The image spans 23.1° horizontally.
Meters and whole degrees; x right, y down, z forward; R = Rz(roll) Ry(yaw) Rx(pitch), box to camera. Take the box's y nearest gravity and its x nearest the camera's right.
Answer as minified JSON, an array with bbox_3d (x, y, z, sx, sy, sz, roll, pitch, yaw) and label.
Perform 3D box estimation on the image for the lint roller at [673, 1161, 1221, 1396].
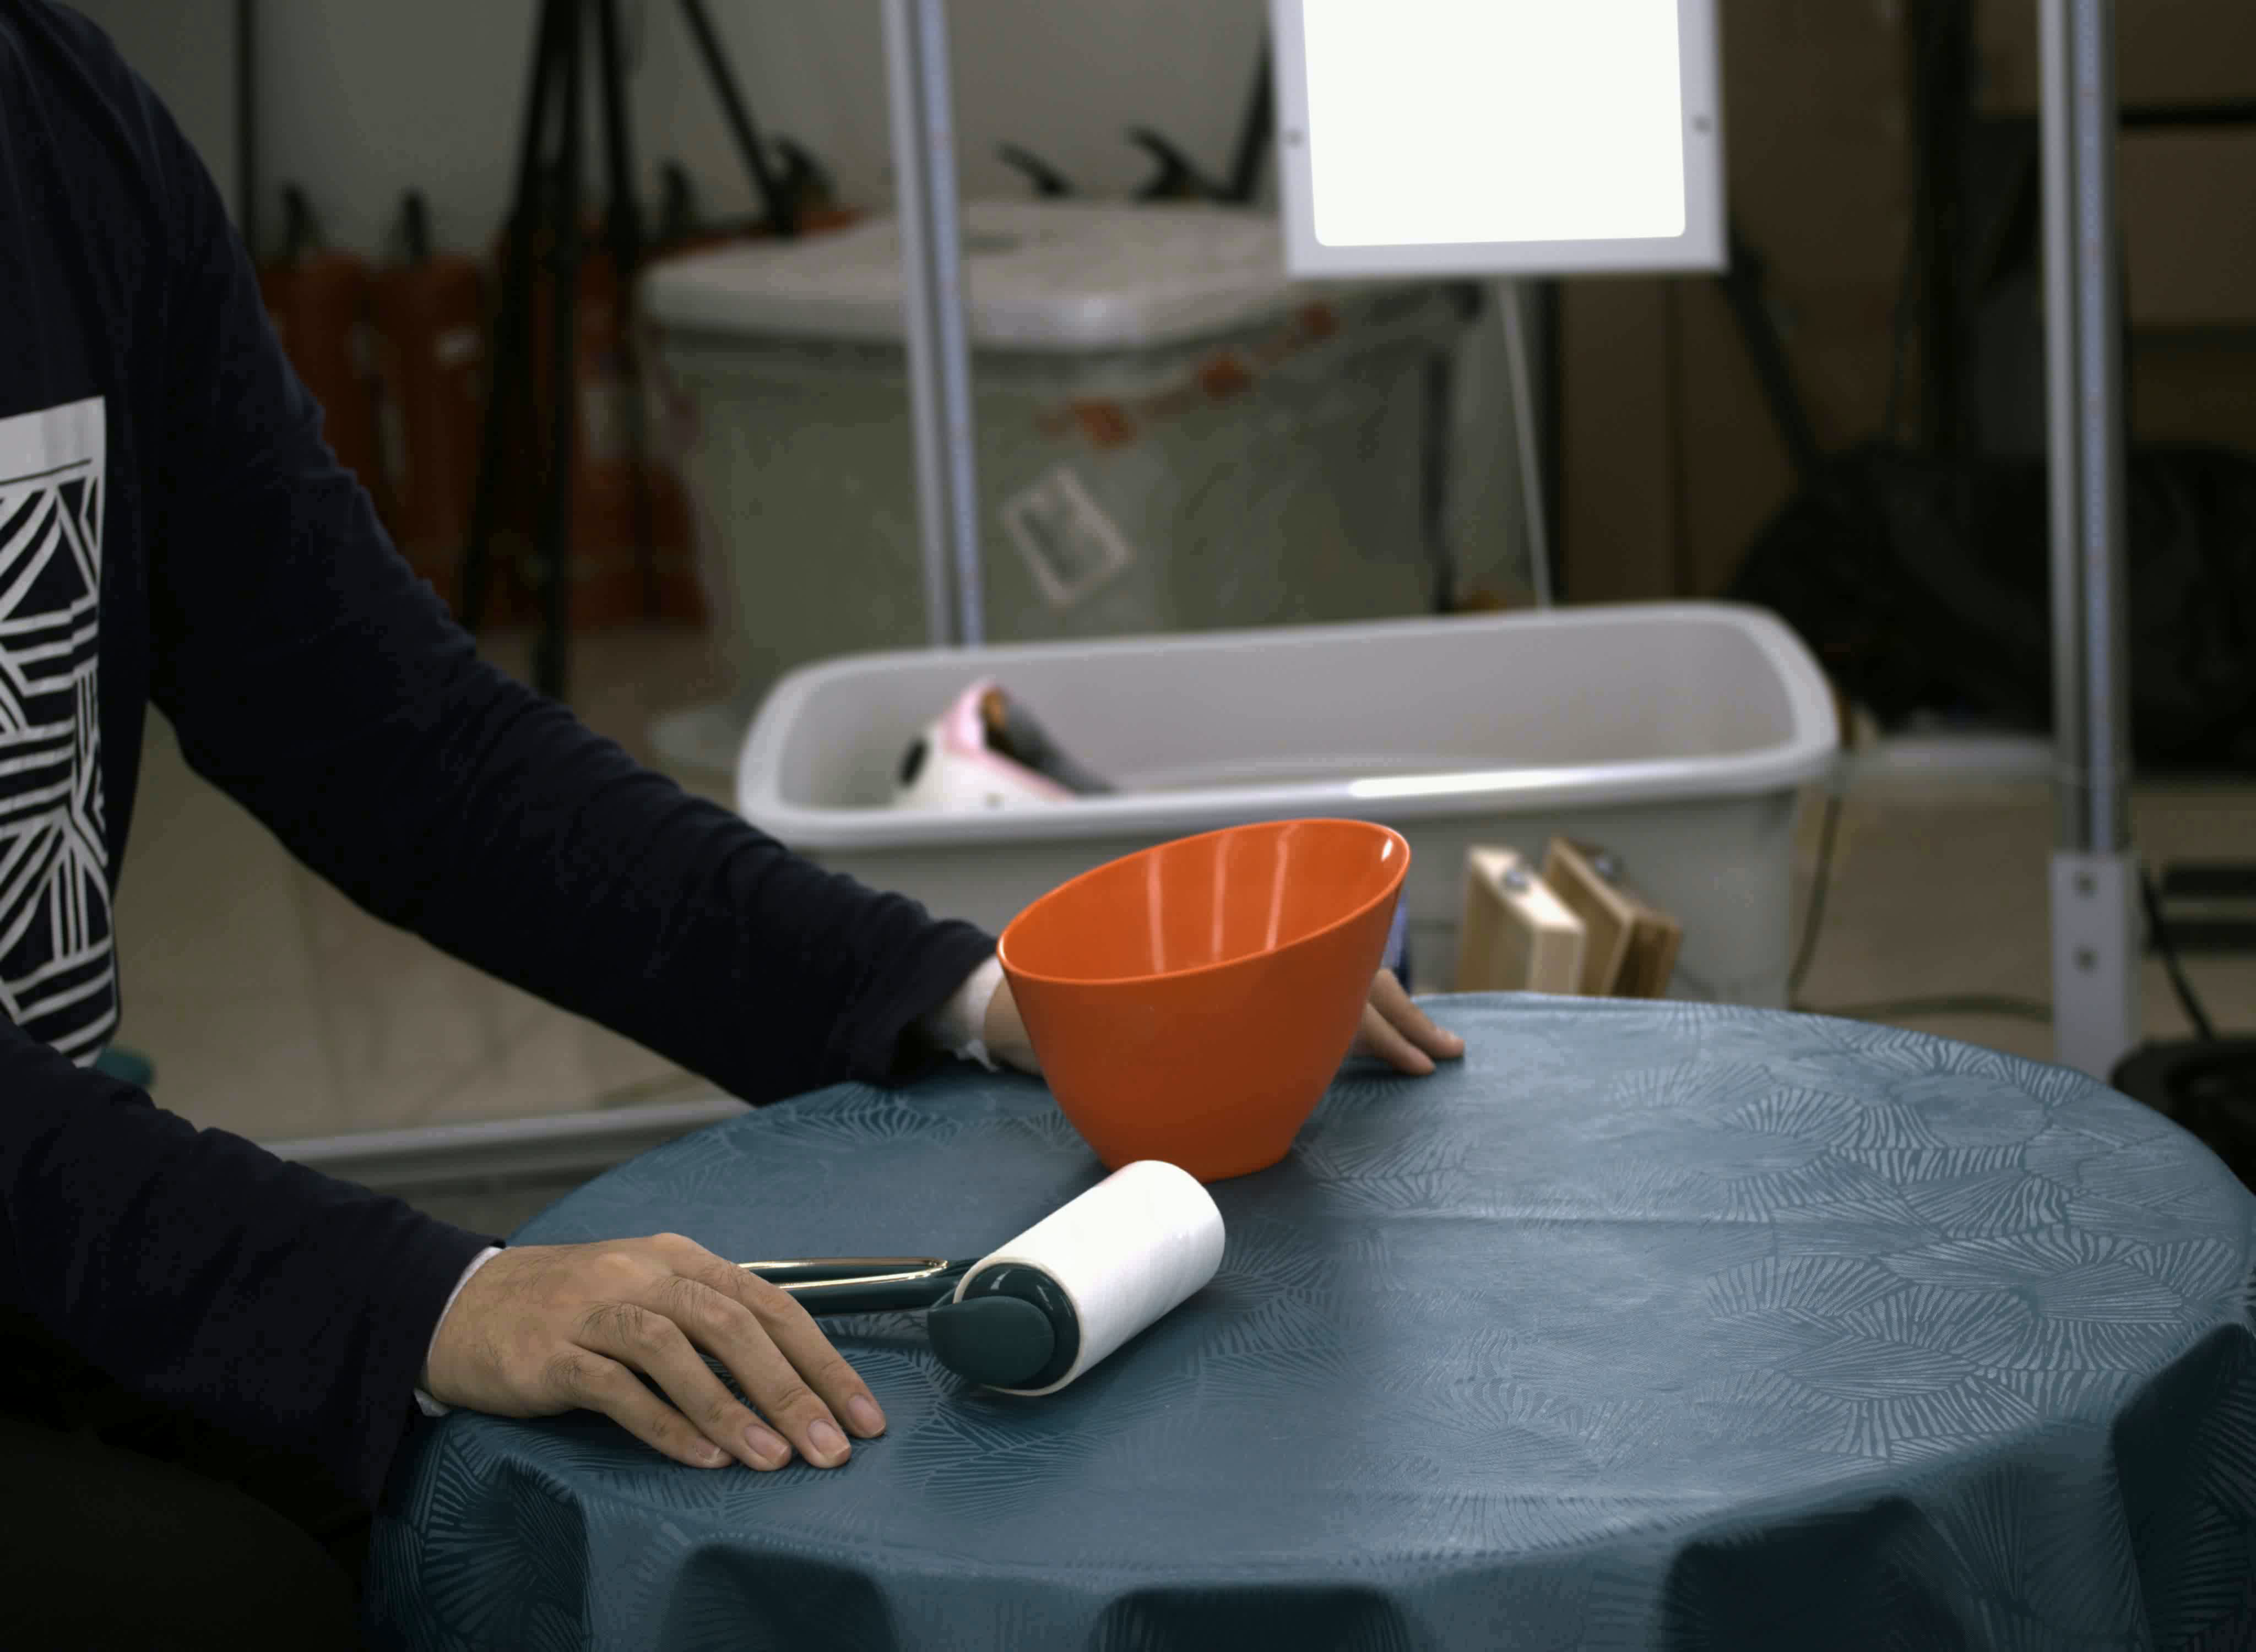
[{"bbox_3d":[-0.071,0.144,1.777,0.183,0.048,0.131,-1,14,29],"label":"lint roller"}]

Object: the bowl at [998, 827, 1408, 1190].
[{"bbox_3d":[0.032,0.067,1.929,0.148,0.105,0.148,-8,13,0],"label":"bowl"}]
